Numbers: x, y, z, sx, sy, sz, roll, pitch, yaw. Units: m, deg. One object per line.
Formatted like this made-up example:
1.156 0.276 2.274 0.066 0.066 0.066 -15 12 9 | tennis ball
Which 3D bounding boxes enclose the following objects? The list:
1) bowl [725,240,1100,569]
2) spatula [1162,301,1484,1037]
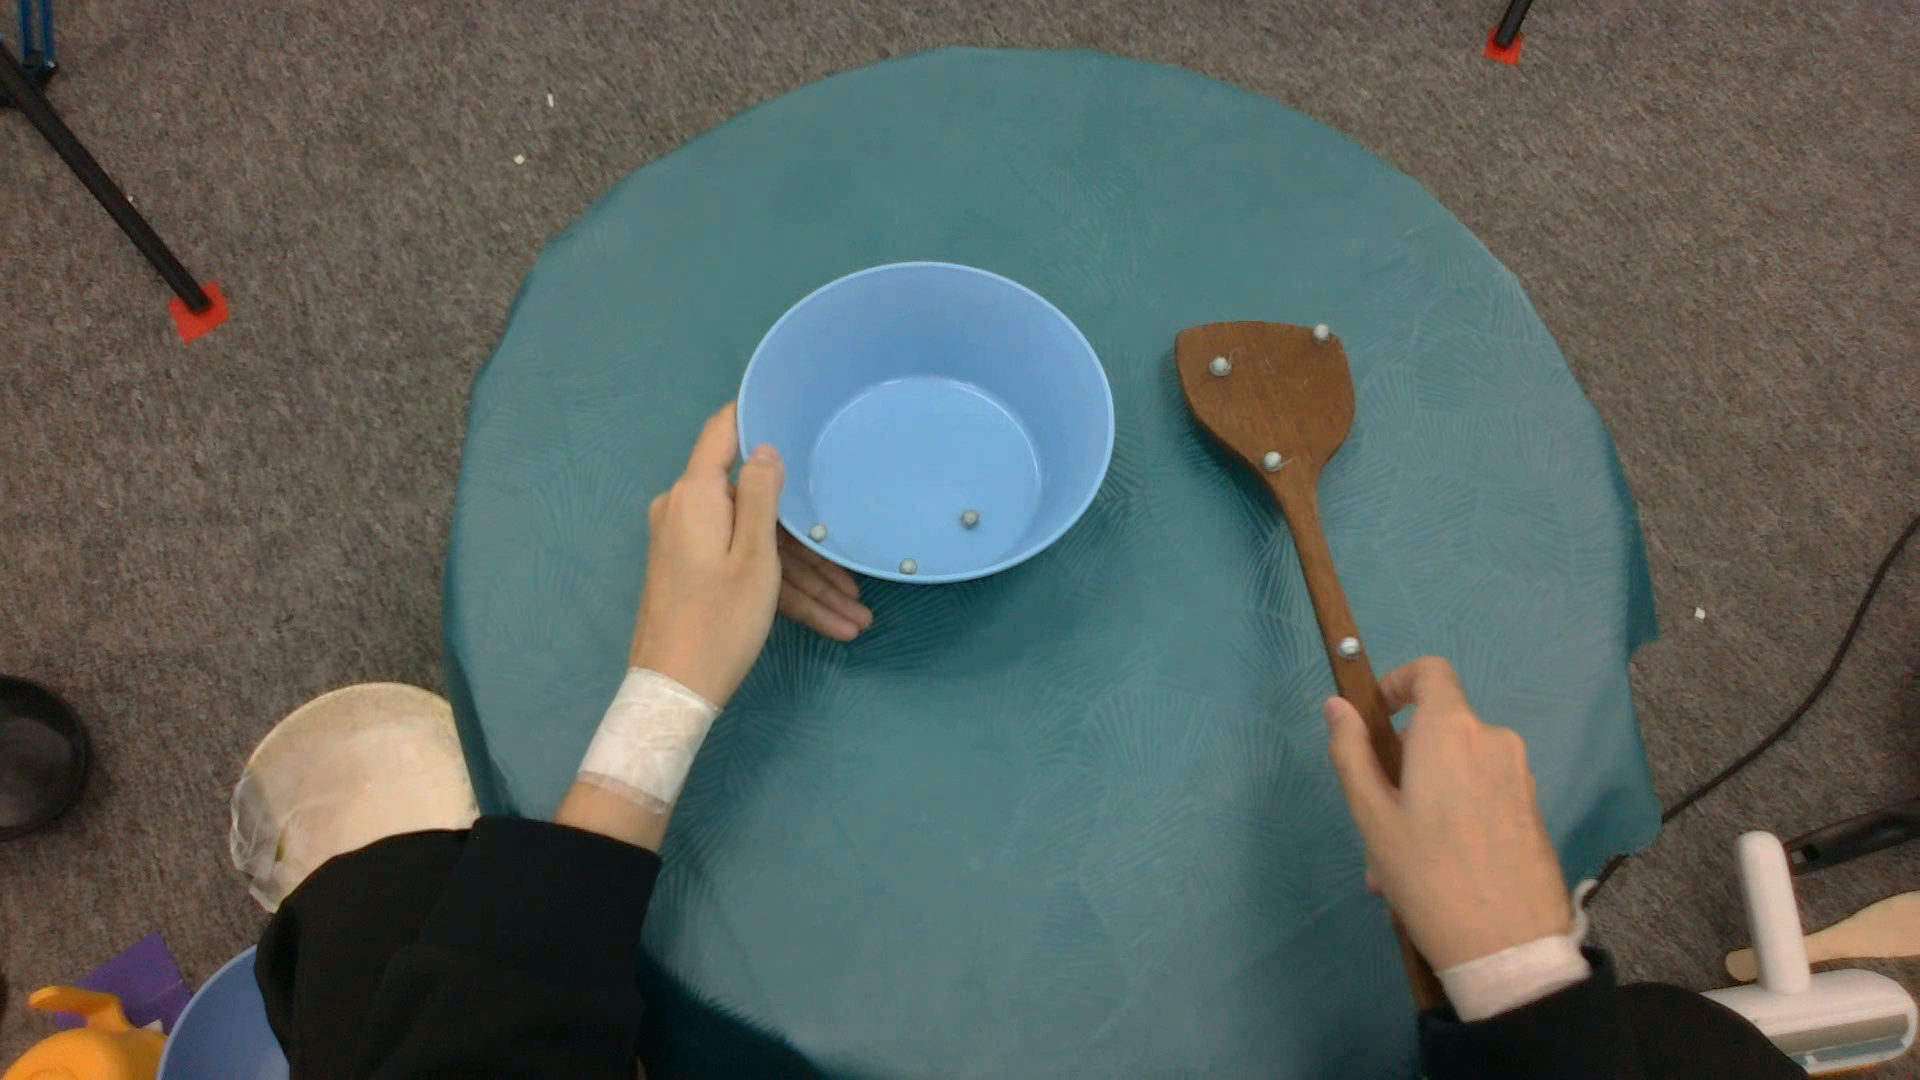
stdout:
-0.022 -0.055 0.670 0.176 0.070 0.176 1 65 -2 | bowl
0.167 0.028 0.625 0.096 0.015 0.387 1 53 -11 | spatula
